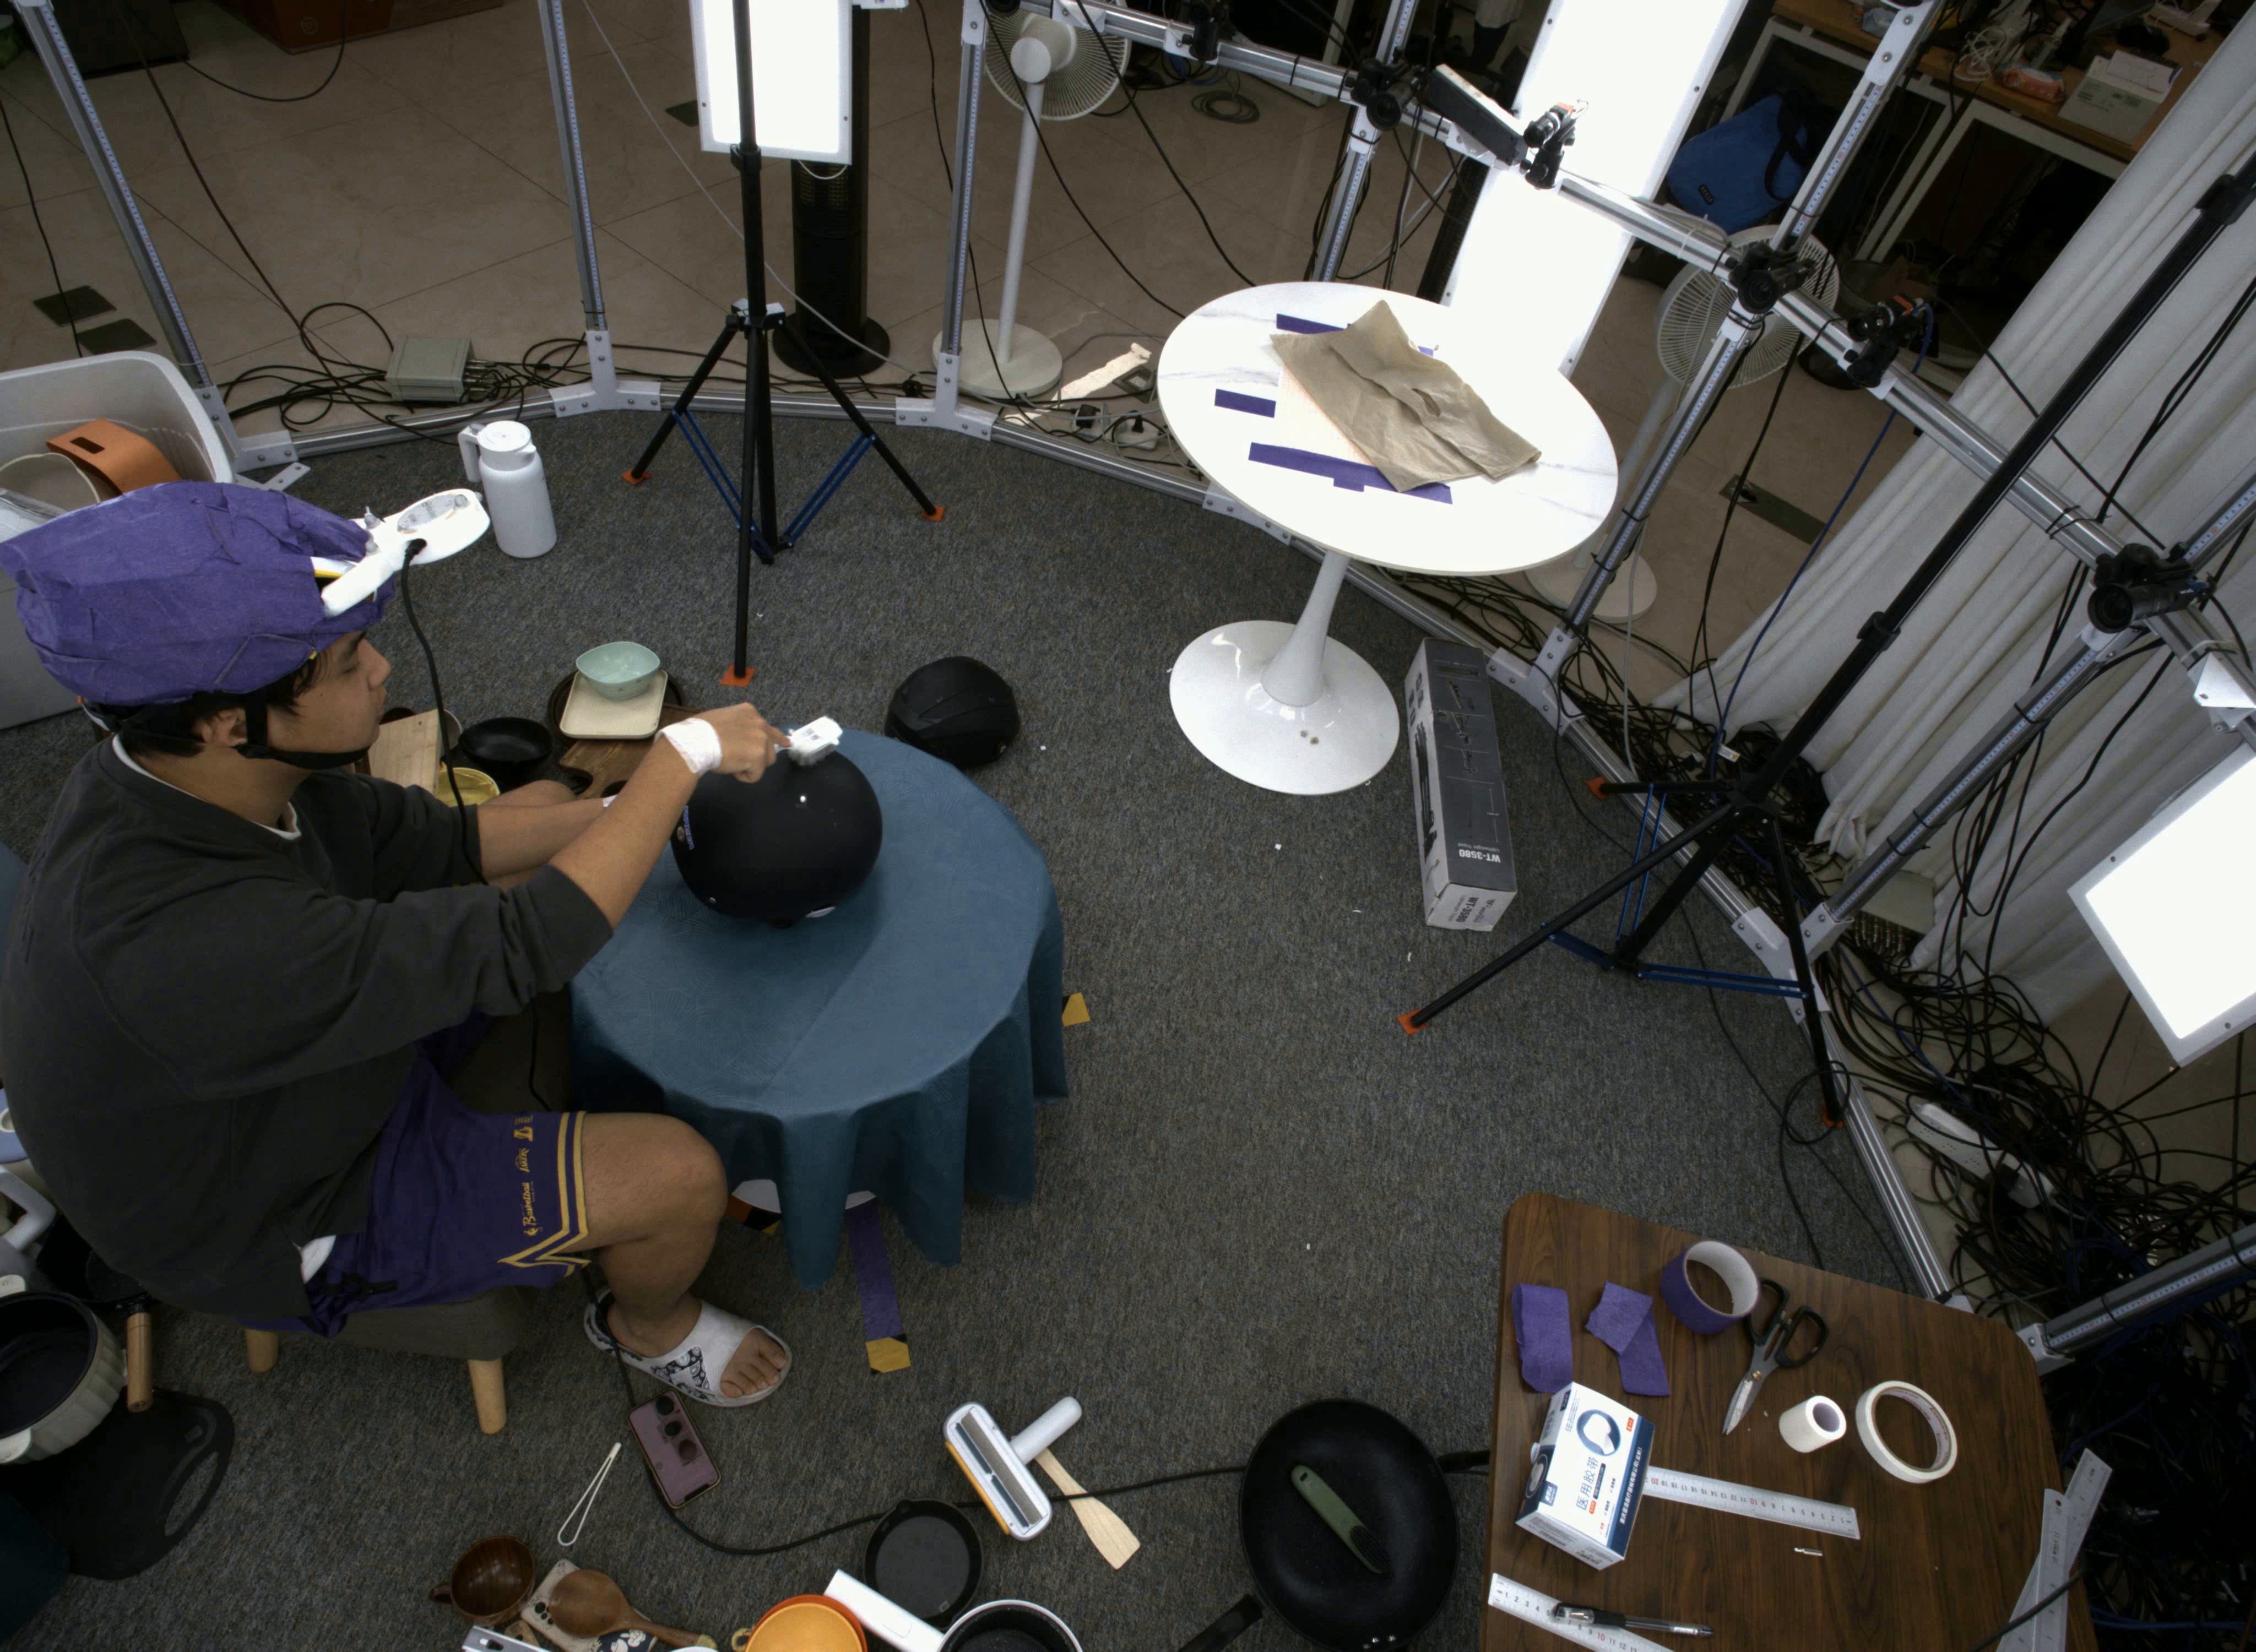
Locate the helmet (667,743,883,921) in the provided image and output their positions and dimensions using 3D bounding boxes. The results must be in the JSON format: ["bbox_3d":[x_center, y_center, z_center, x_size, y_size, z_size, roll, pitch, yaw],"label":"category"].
[{"bbox_3d":[-0.413,-0.007,1.578,0.278,0.164,0.230,1,76,-38],"label":"helmet"}]

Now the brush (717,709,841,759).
[{"bbox_3d":[-0.398,-0.092,1.461,0.034,0.050,0.244,38,19,6],"label":"brush"}]
